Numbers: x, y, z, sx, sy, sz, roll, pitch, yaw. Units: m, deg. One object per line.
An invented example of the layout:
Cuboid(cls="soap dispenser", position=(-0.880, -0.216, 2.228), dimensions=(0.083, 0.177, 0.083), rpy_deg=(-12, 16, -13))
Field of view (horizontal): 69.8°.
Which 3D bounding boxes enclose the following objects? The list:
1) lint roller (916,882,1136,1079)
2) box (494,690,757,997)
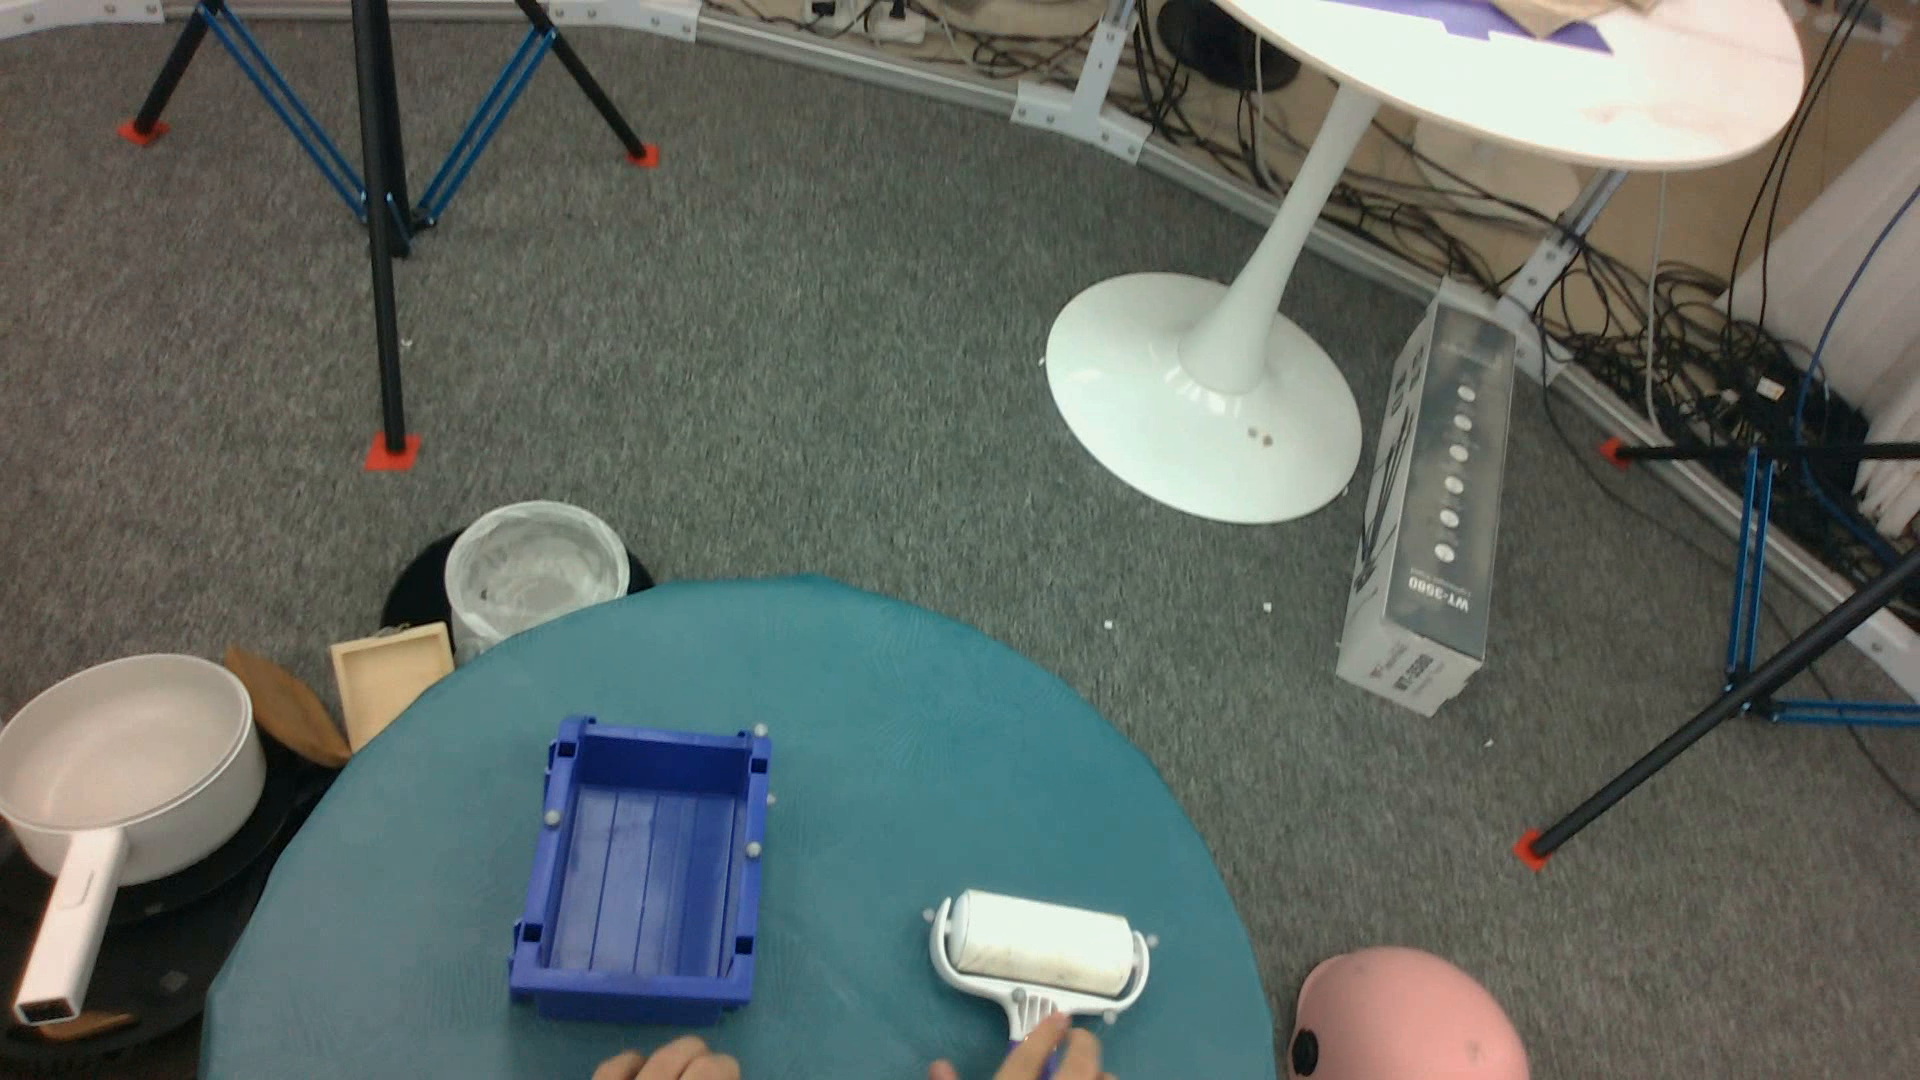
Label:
Cuboid(cls="lint roller", position=(0.035, 0.286, 0.785), dimensions=(0.133, 0.050, 0.181), rpy_deg=(14, 48, -9))
Cuboid(cls="box", position=(-0.187, 0.167, 0.785), dimensions=(0.124, 0.081, 0.180), rpy_deg=(8, 54, -11))
